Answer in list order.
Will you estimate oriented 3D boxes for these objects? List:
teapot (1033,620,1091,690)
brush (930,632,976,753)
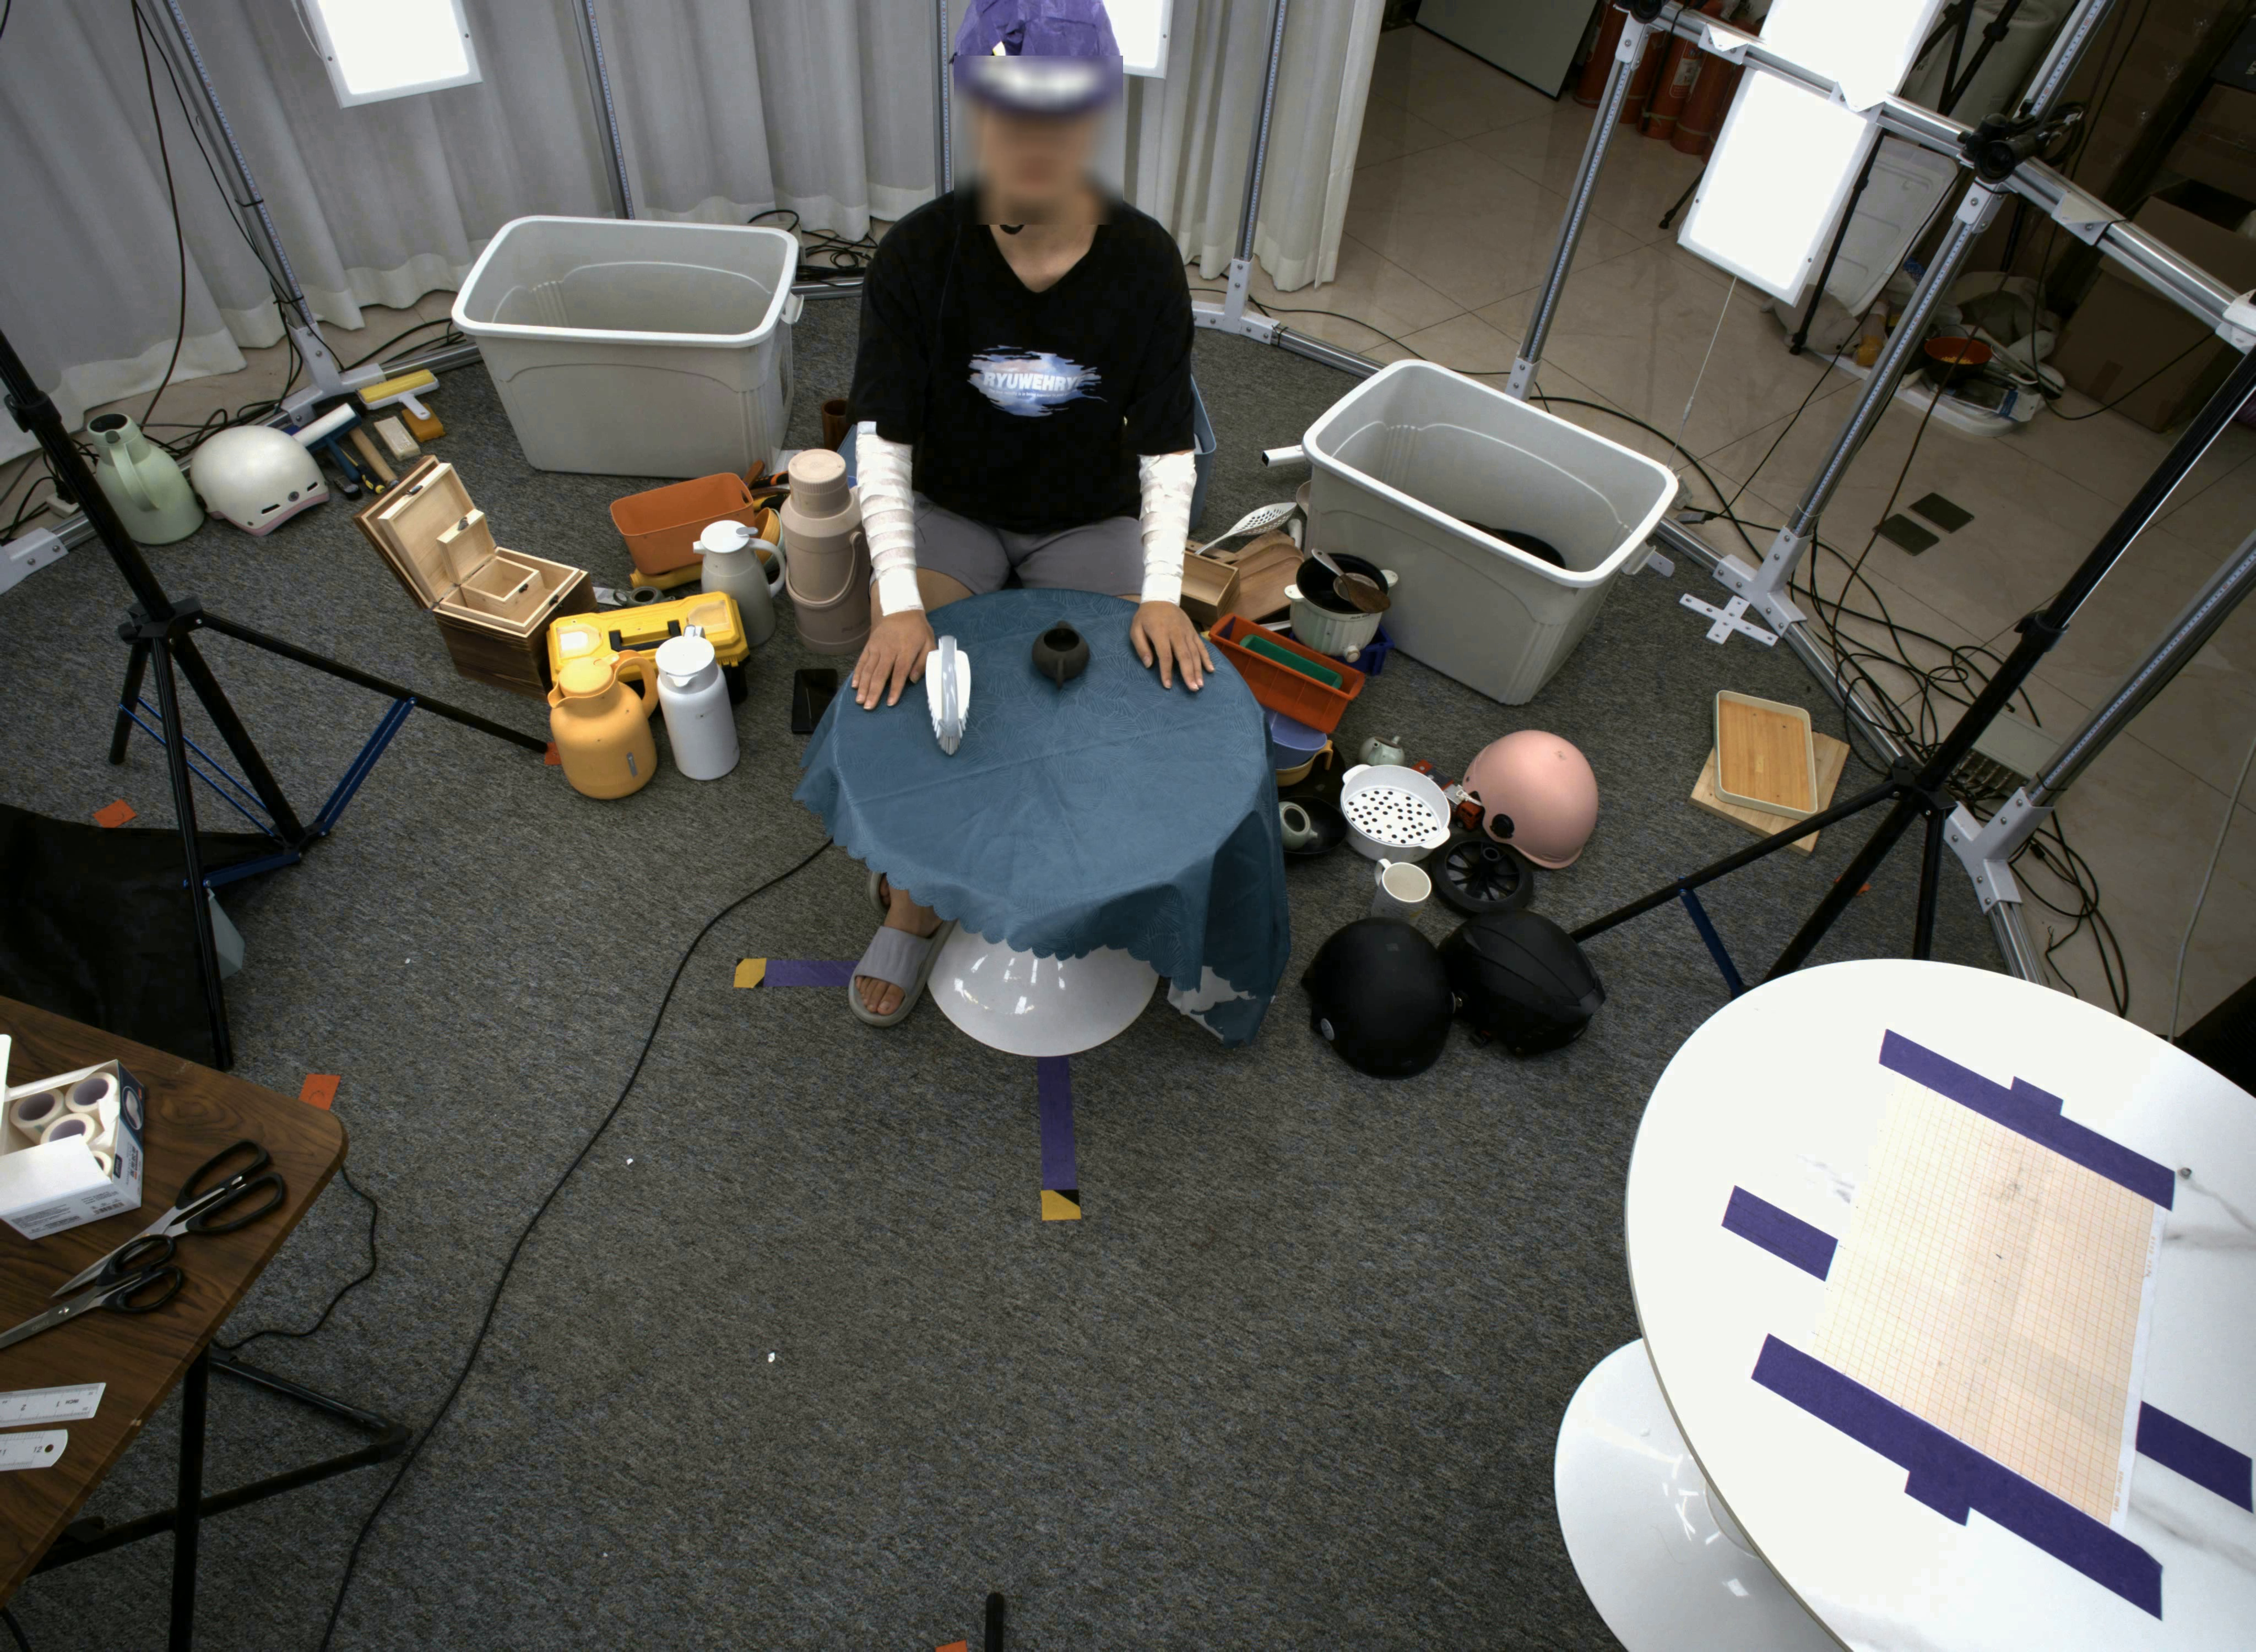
[{"bbox_3d":[-0.095,-0.243,1.843,0.083,0.052,0.117,3,47,-2],"label":"teapot"},{"bbox_3d":[-0.241,-0.192,1.765,0.061,0.092,0.180,-4,51,-3],"label":"brush"}]
